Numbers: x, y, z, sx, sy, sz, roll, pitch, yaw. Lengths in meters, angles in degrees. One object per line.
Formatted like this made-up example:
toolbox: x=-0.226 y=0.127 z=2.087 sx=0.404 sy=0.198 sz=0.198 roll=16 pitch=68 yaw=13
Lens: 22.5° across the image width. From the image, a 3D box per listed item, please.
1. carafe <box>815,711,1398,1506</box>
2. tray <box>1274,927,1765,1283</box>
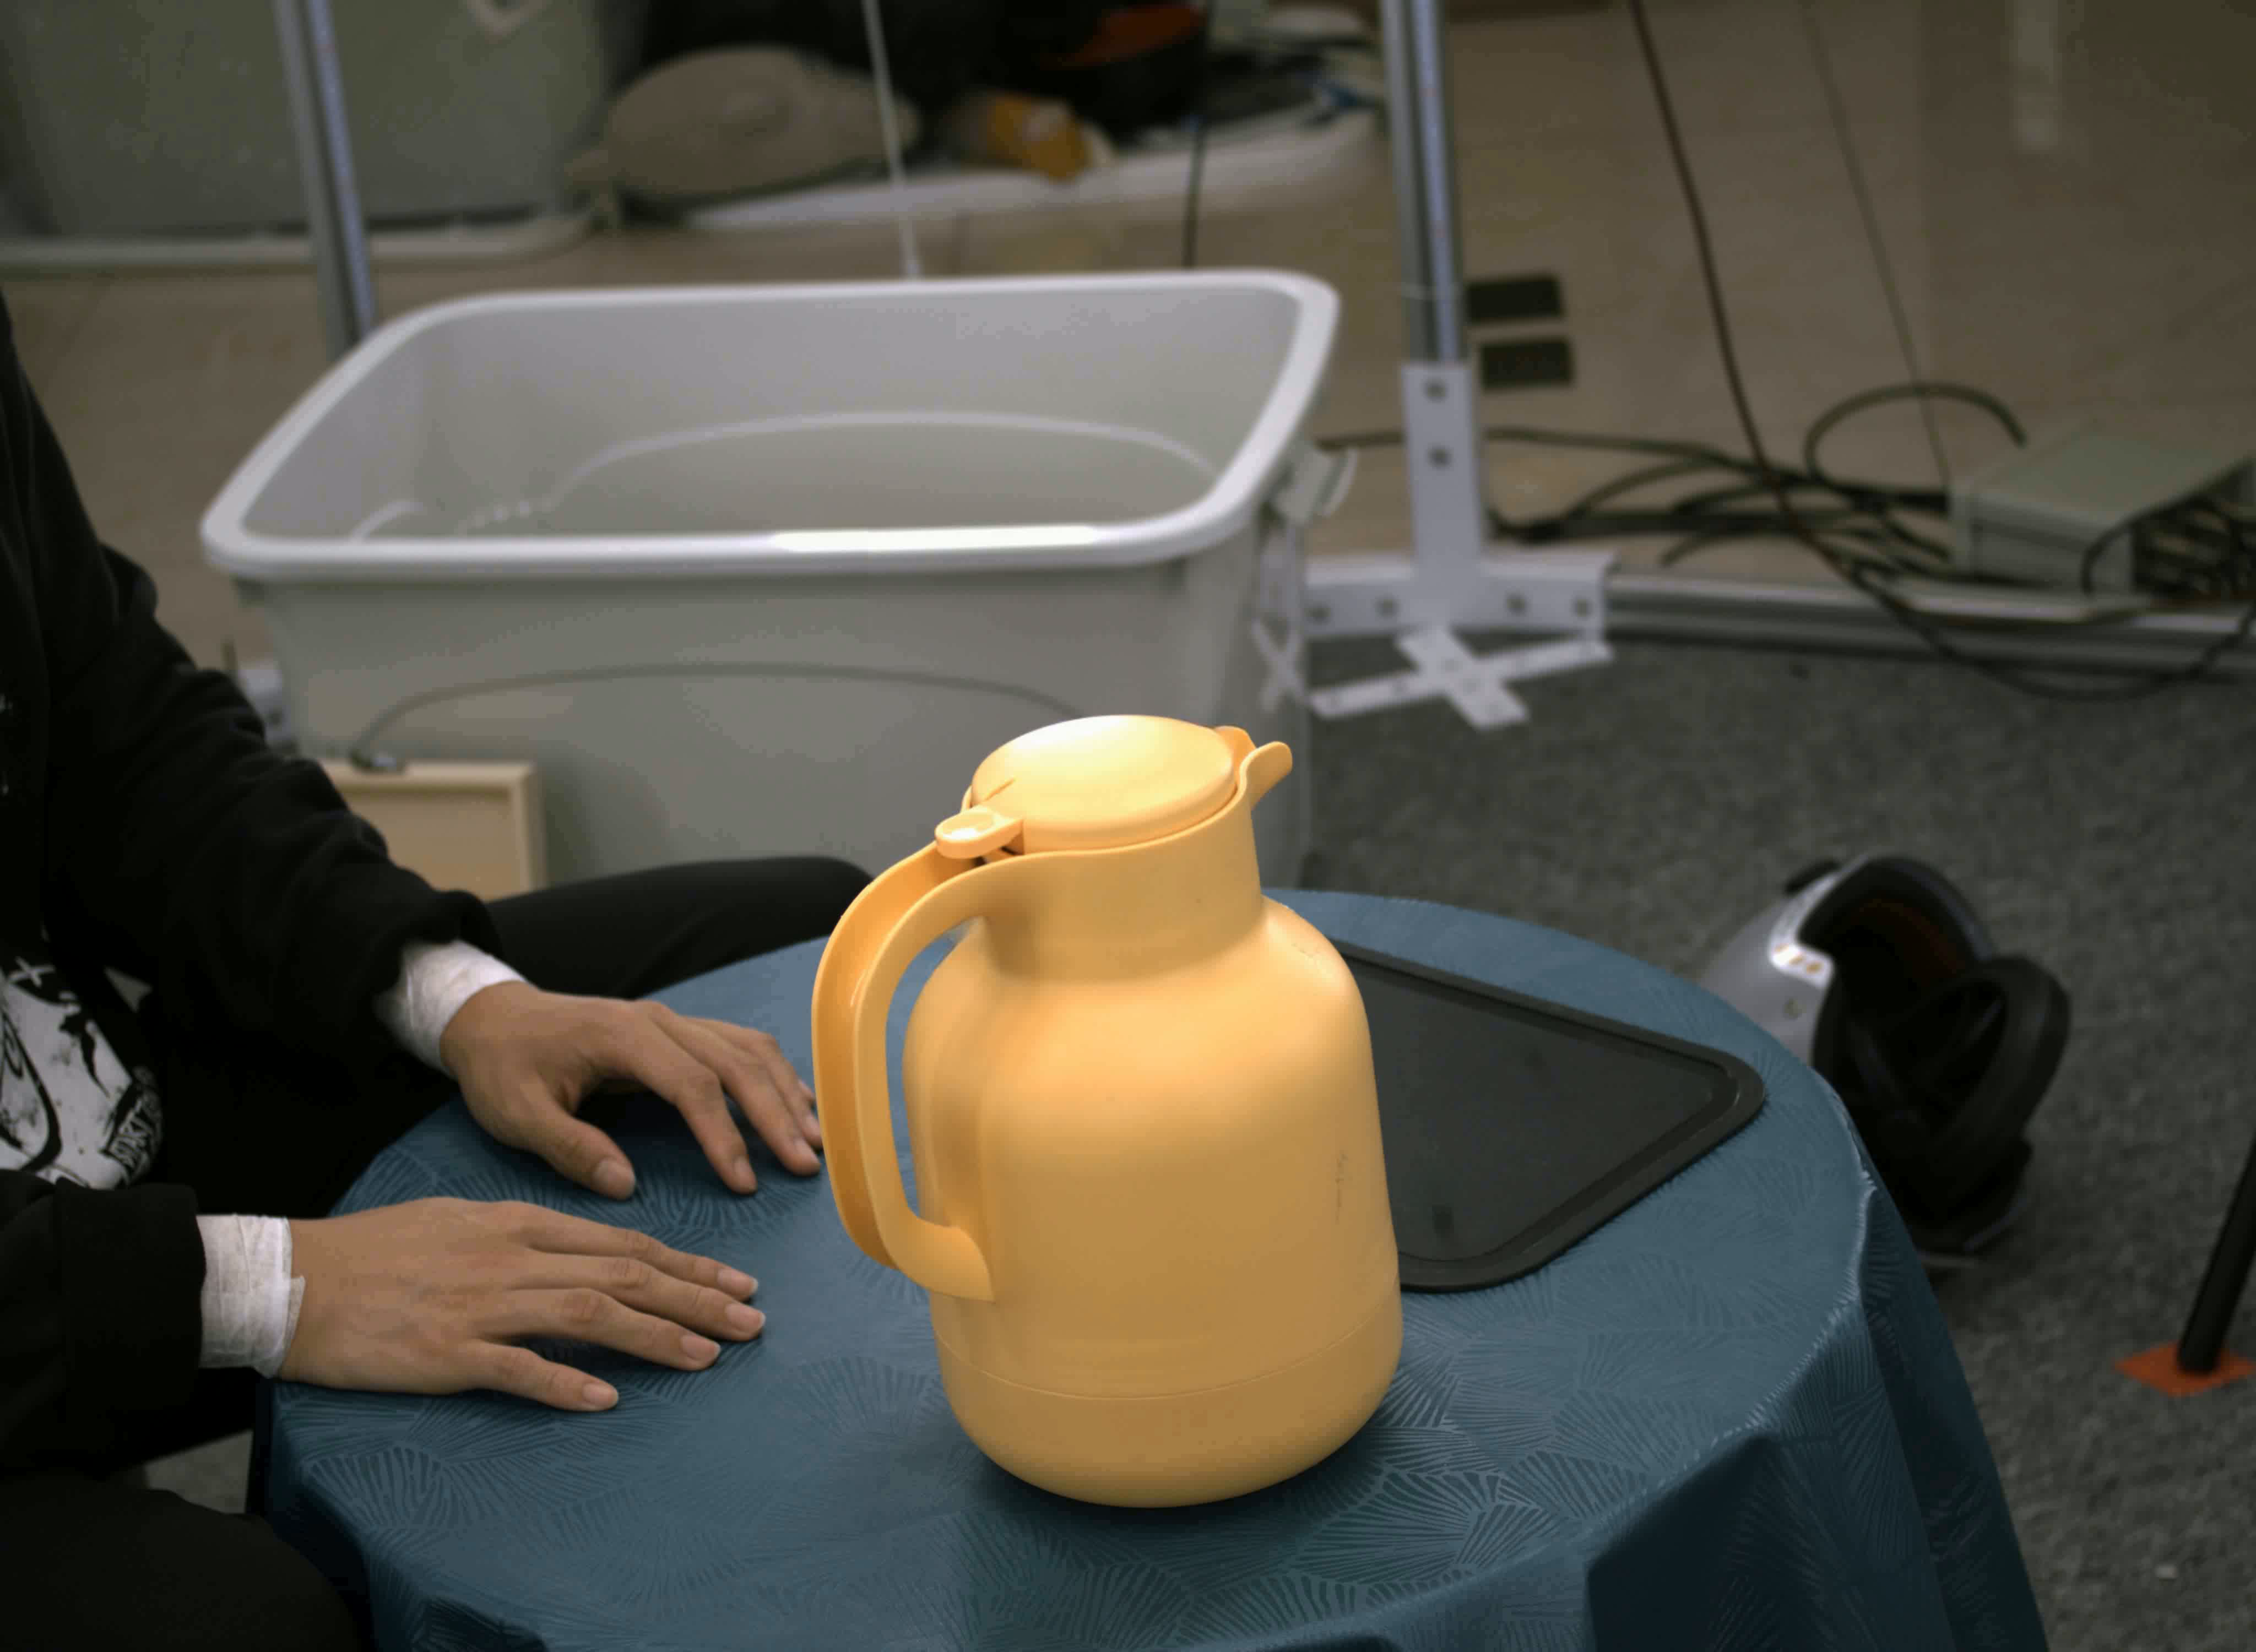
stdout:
carafe: x=-0.012 y=0.097 z=1.927 sx=0.201 sy=0.264 sz=0.162 roll=-21 pitch=27 yaw=-30
tray: x=0.072 y=0.101 z=2.205 sx=0.323 sy=0.010 sz=0.209 roll=16 pitch=33 yaw=40
